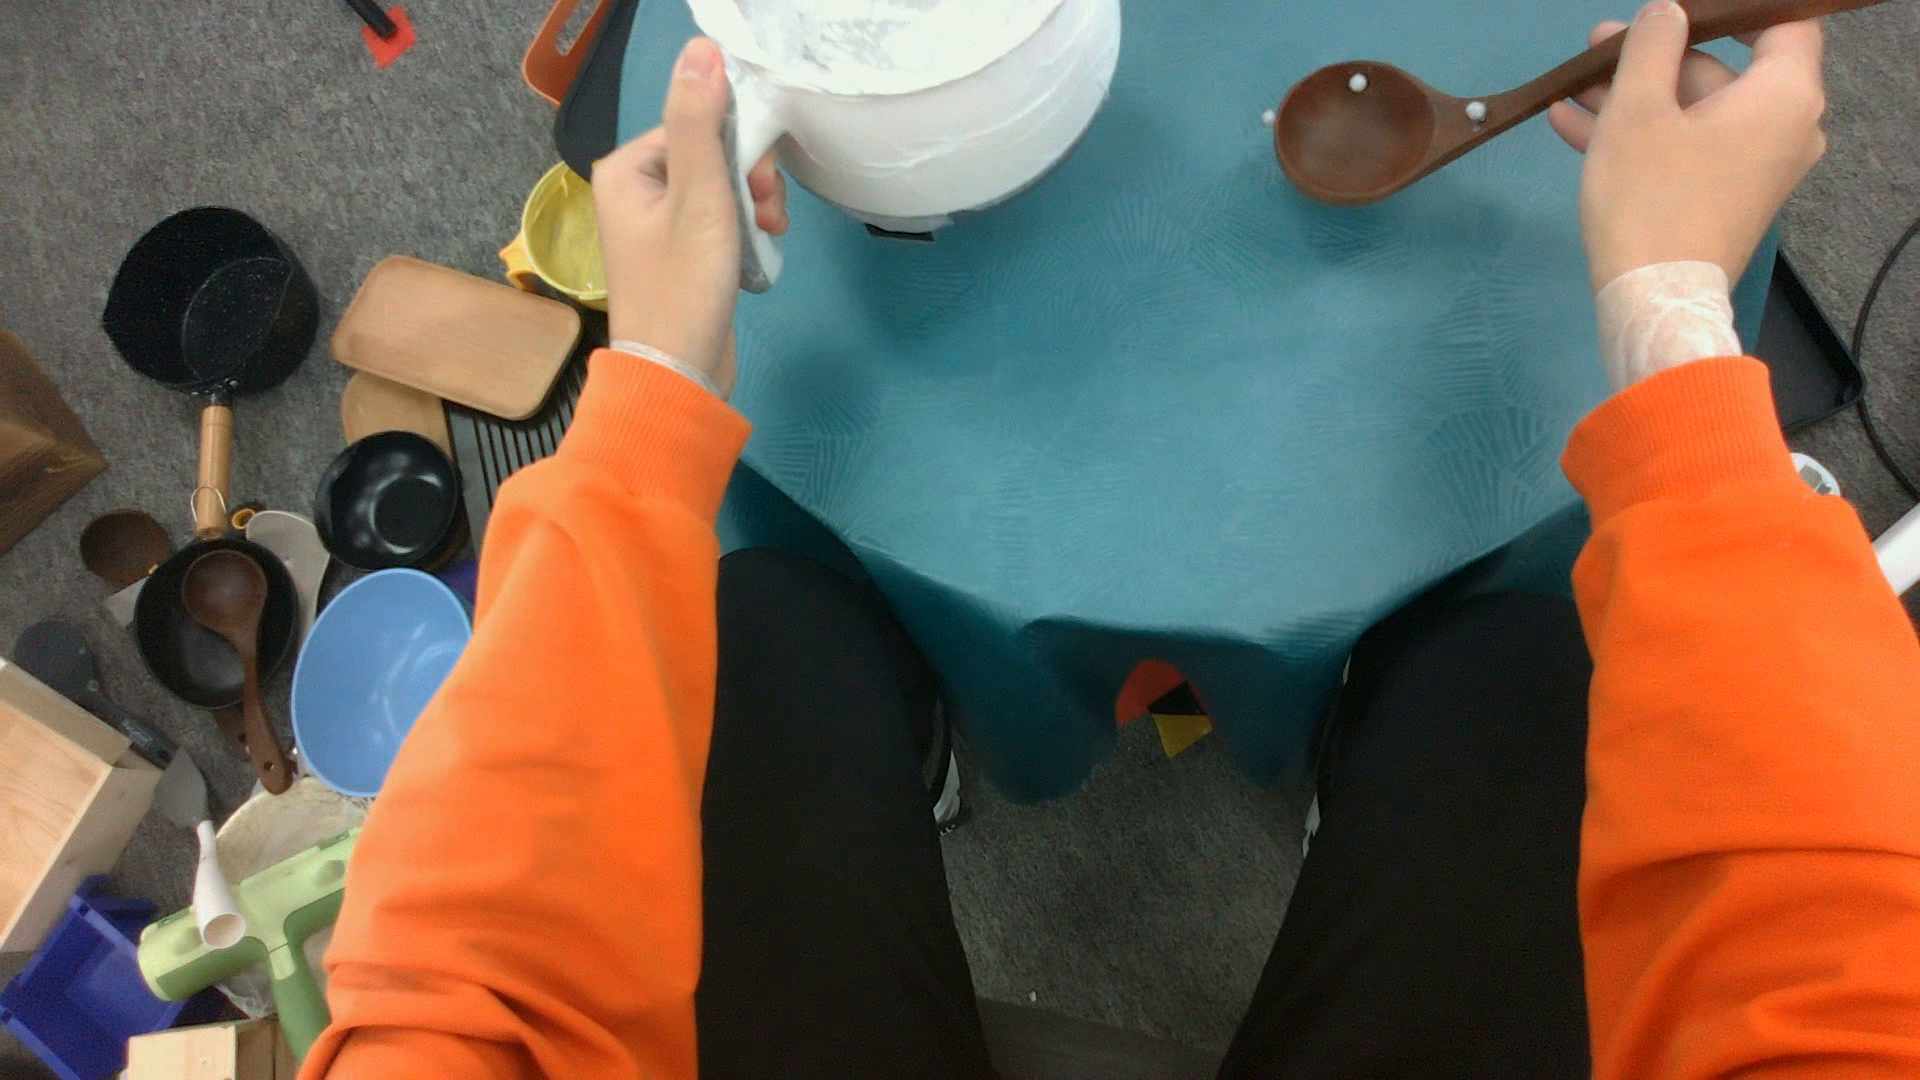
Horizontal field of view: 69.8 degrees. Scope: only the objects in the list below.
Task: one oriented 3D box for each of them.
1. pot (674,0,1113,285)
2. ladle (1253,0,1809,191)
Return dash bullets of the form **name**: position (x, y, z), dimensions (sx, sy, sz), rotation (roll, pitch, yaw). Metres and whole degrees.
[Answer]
- **pot**: position (-0.040, -0.219, 0.598), dimensions (0.179, 0.136, 0.234), rotation (37, 83, 14)
- **ladle**: position (0.240, -0.210, 0.581), dimensions (0.259, 0.065, 0.076), rotation (-8, 70, 50)
